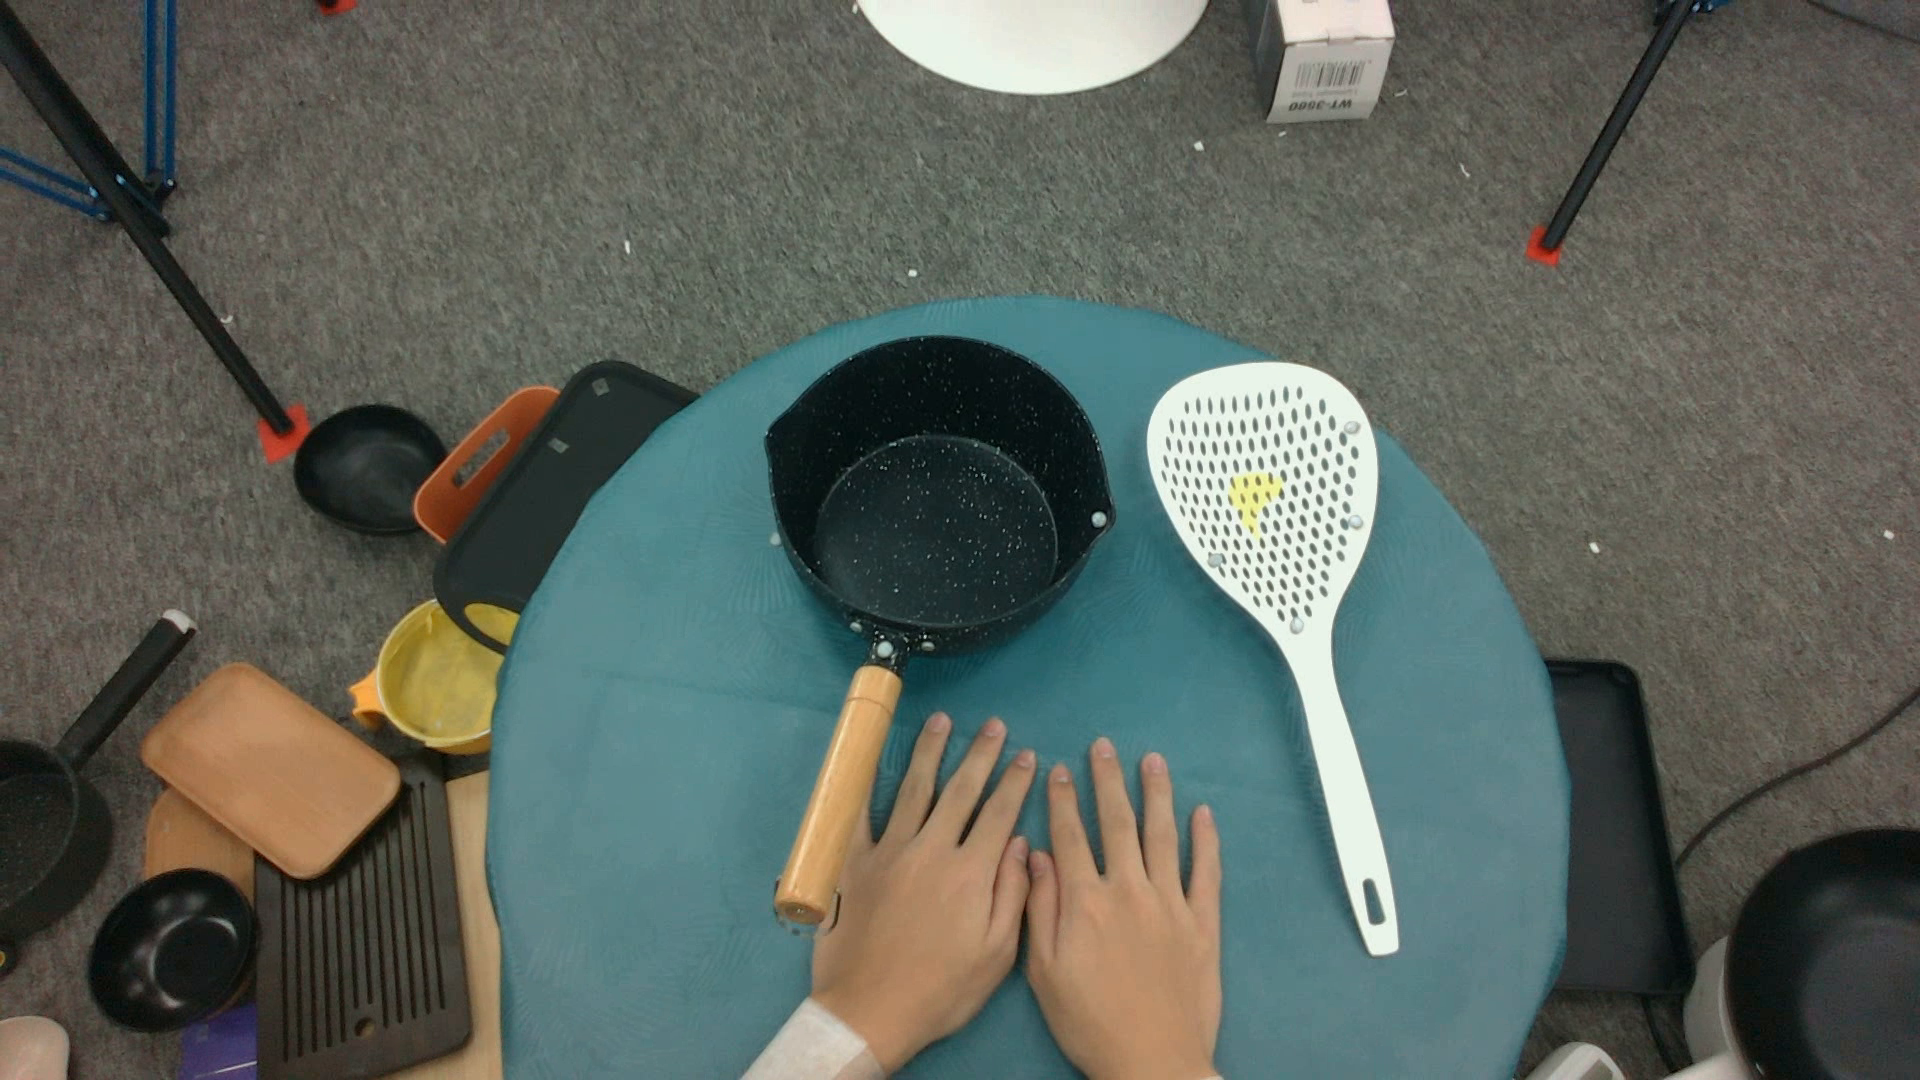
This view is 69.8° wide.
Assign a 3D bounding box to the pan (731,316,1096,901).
[{"bbox_3d":[-0.043,0.036,0.741,0.207,0.108,0.344,13,62,3],"label":"pan"}]

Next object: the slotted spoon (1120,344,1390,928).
[{"bbox_3d":[0.183,0.042,0.785,0.137,0.050,0.349,-9,62,-5],"label":"slotted spoon"}]
